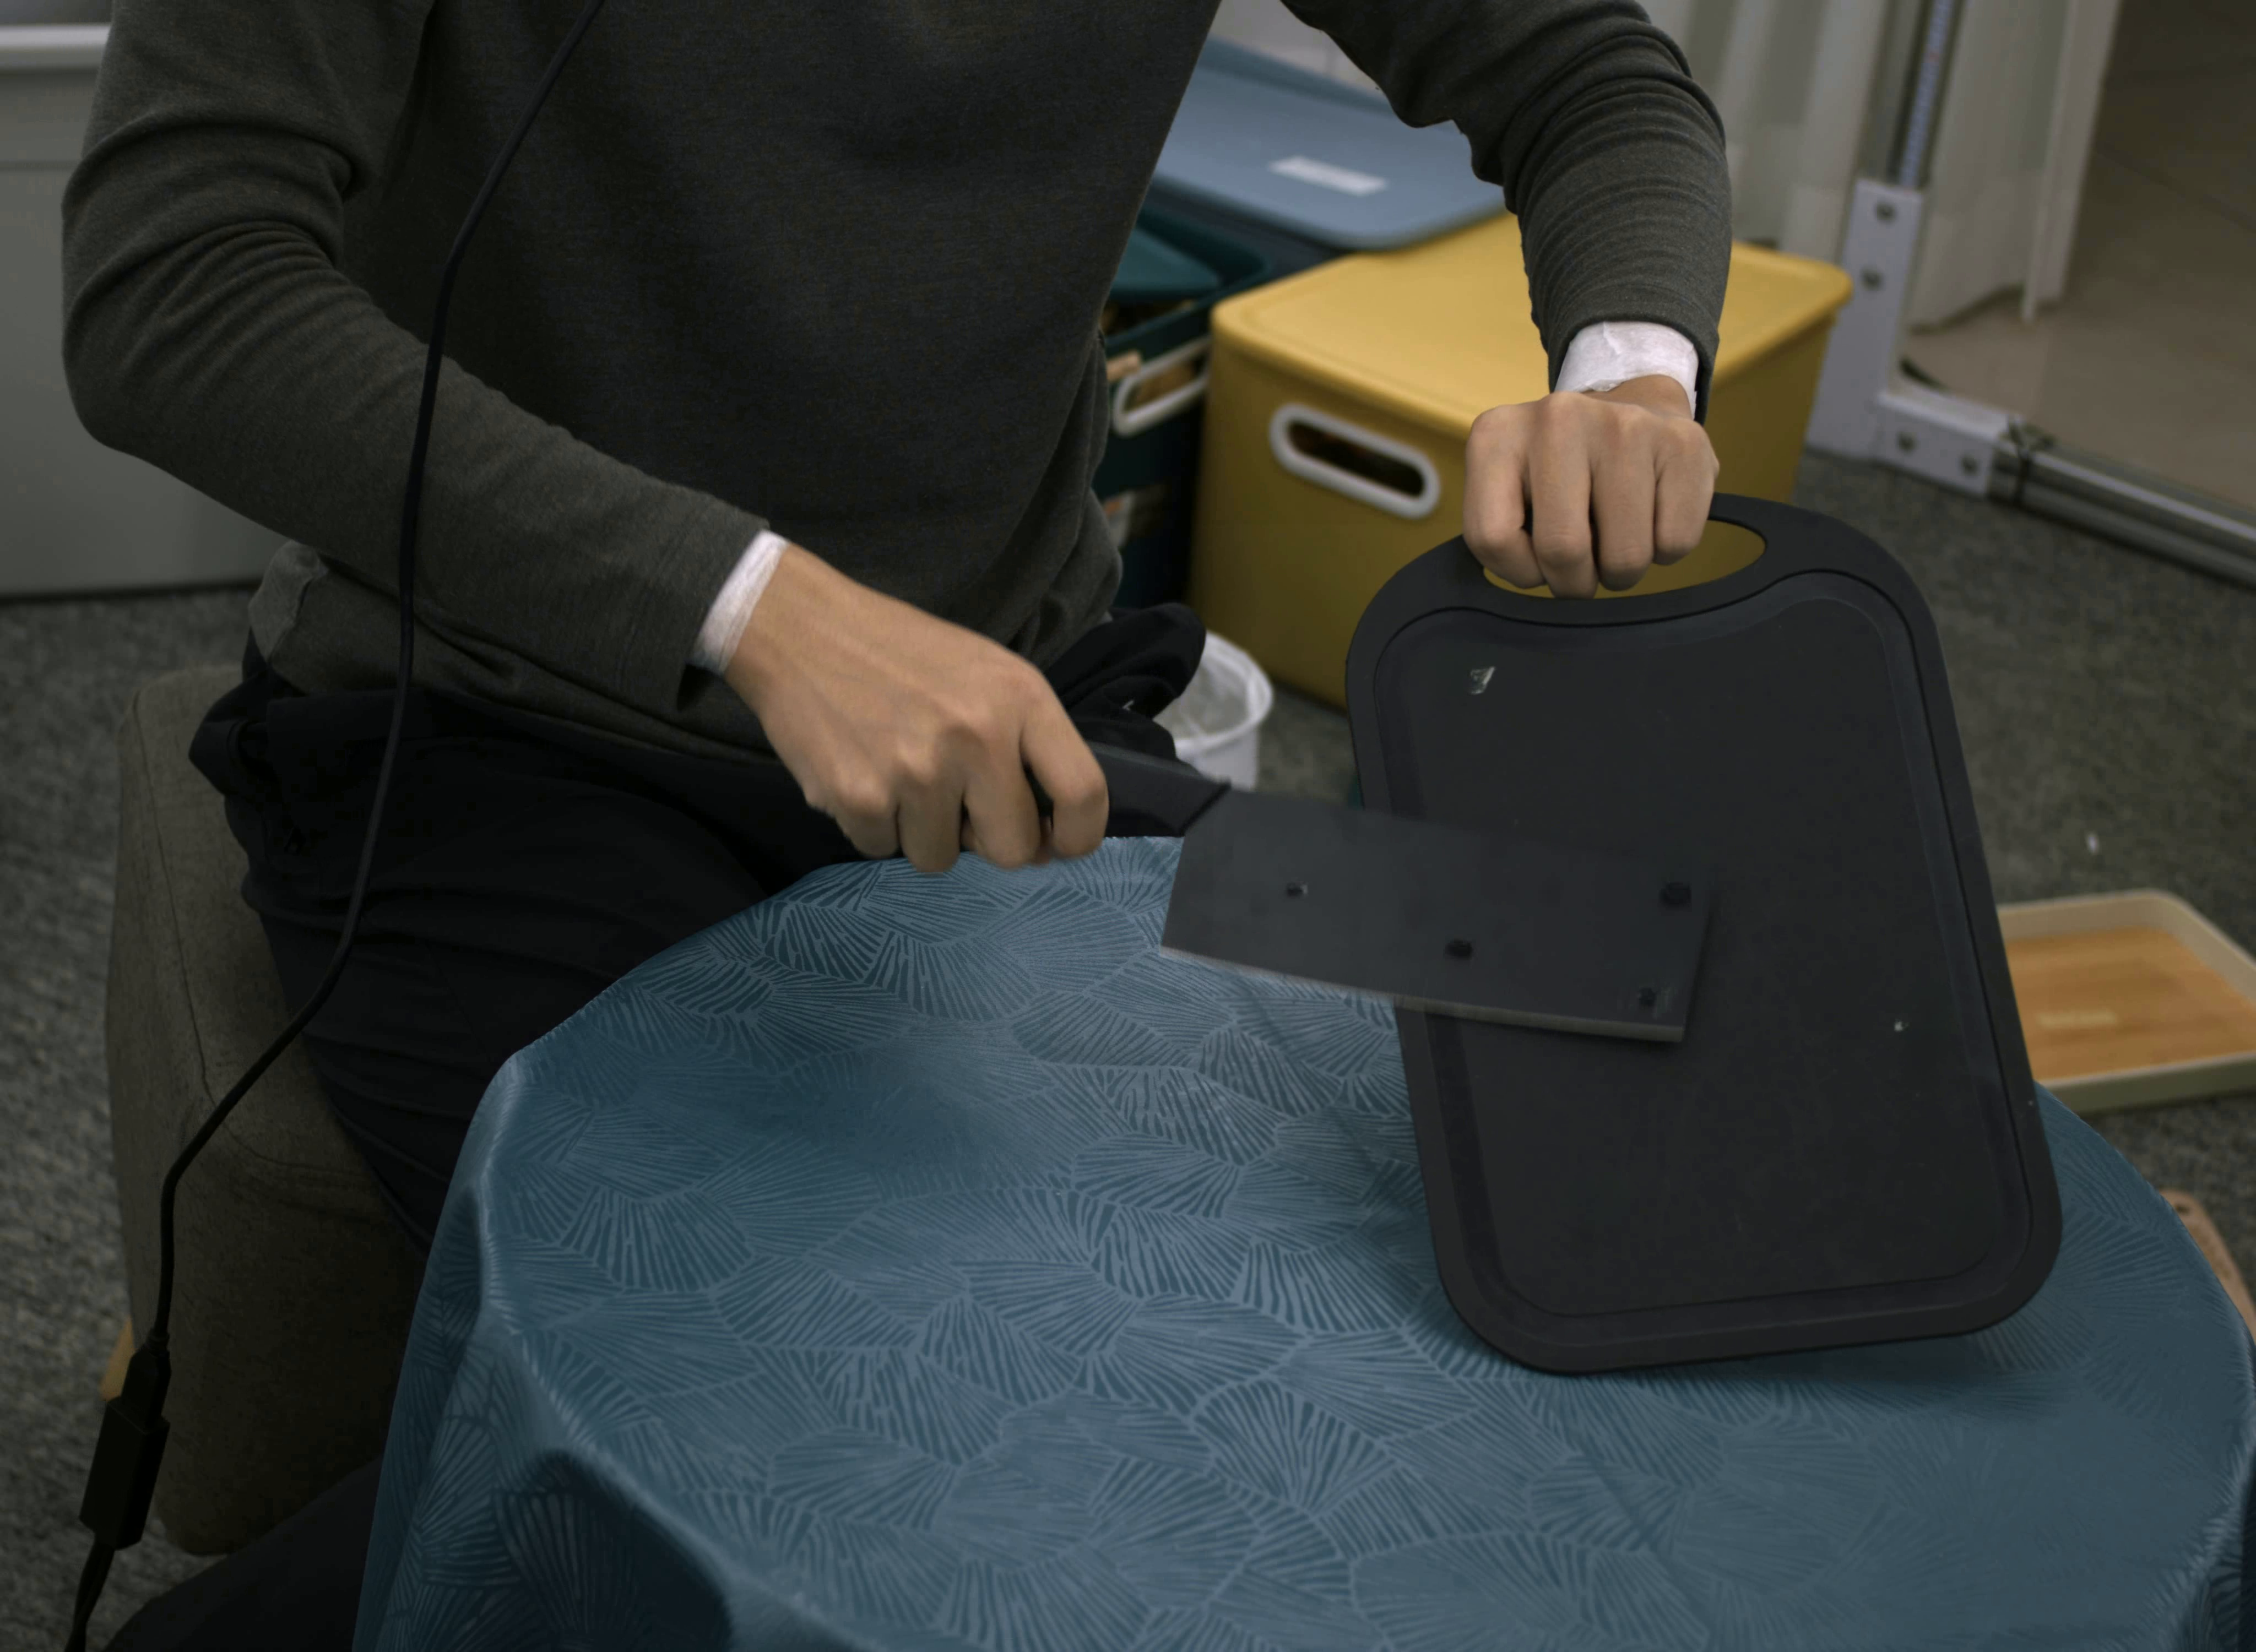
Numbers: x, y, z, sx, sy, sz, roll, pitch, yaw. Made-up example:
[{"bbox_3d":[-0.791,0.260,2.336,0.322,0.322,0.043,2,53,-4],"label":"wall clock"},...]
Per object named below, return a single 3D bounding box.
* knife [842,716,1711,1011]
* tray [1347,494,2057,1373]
[{"bbox_3d":[0.048,0.010,1.819,0.302,0.021,0.081,14,67,11],"label":"knife"},{"bbox_3d":[0.190,0.028,1.806,0.210,0.010,0.328,-5,63,-4],"label":"tray"}]
